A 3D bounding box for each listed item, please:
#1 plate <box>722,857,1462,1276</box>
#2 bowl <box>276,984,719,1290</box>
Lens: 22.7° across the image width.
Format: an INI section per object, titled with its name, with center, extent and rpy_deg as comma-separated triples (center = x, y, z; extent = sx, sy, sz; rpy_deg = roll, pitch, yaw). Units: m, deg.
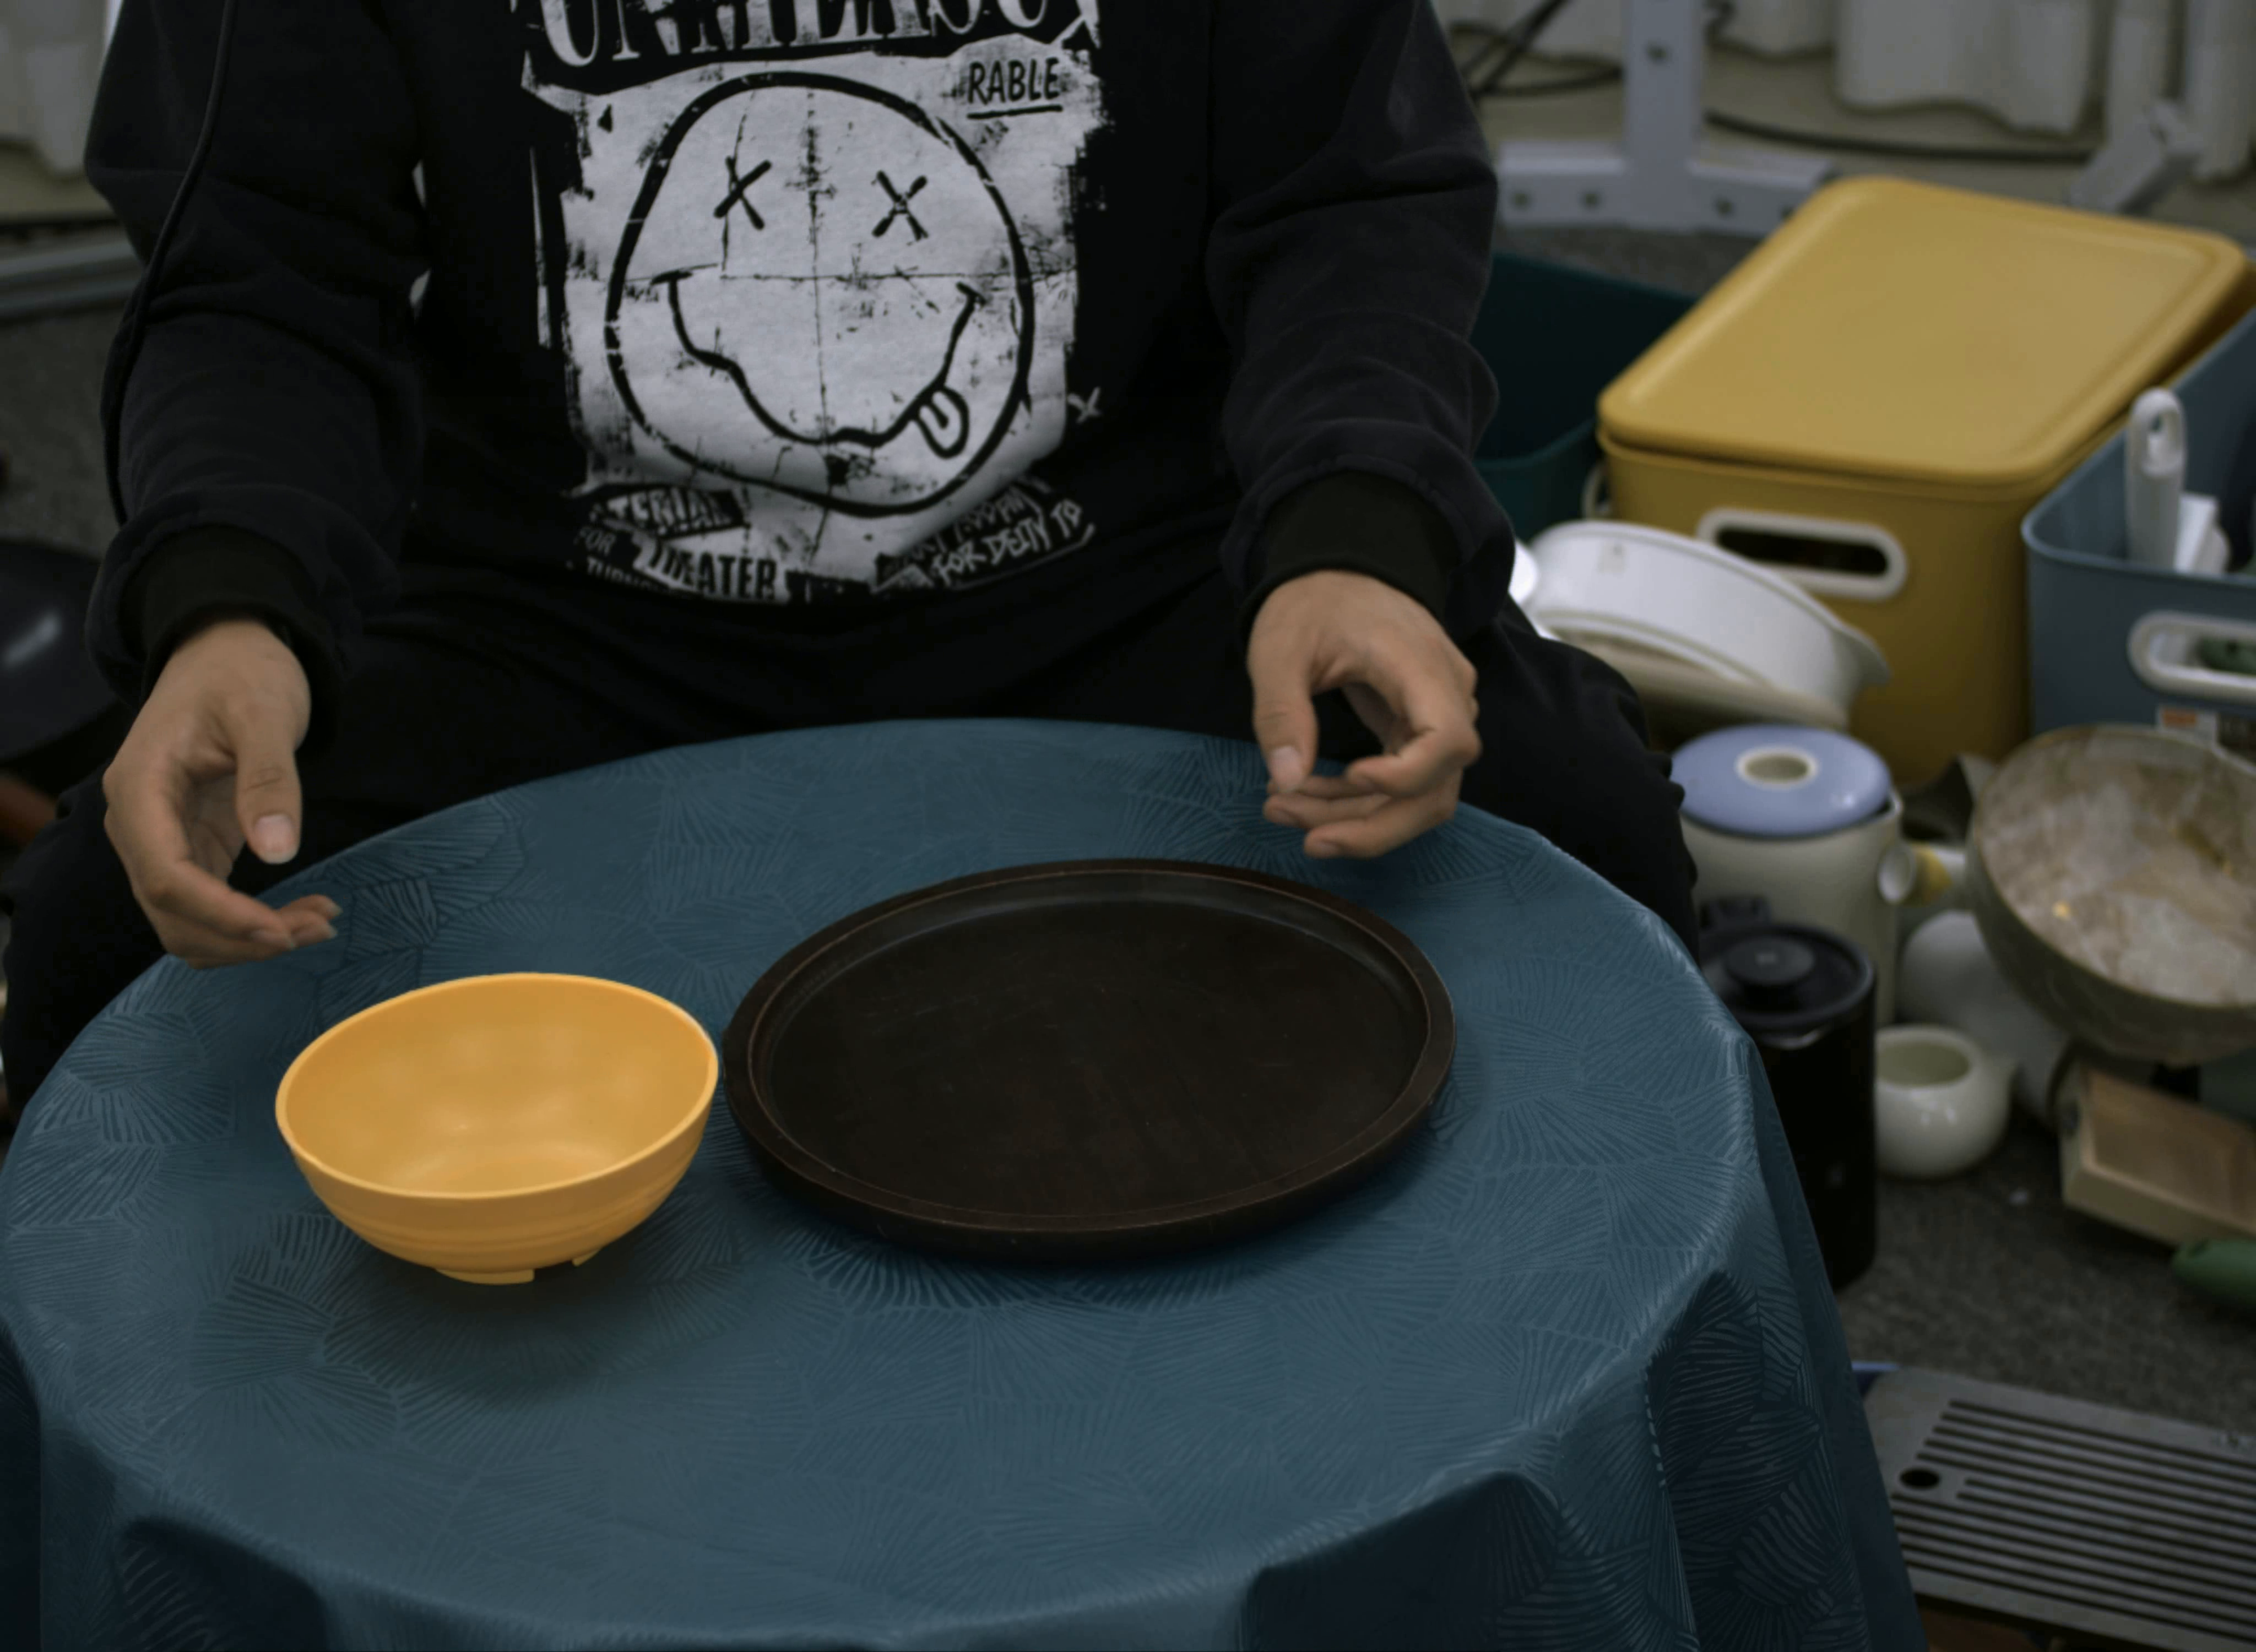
[plate]
center = -0.012, 0.081, 1.919
extent = 0.253, 0.029, 0.258
rpy_deg = -4, 27, 2
[bowl]
center = -0.205, 0.111, 1.842
extent = 0.144, 0.059, 0.147
rpy_deg = -1, 25, 1
